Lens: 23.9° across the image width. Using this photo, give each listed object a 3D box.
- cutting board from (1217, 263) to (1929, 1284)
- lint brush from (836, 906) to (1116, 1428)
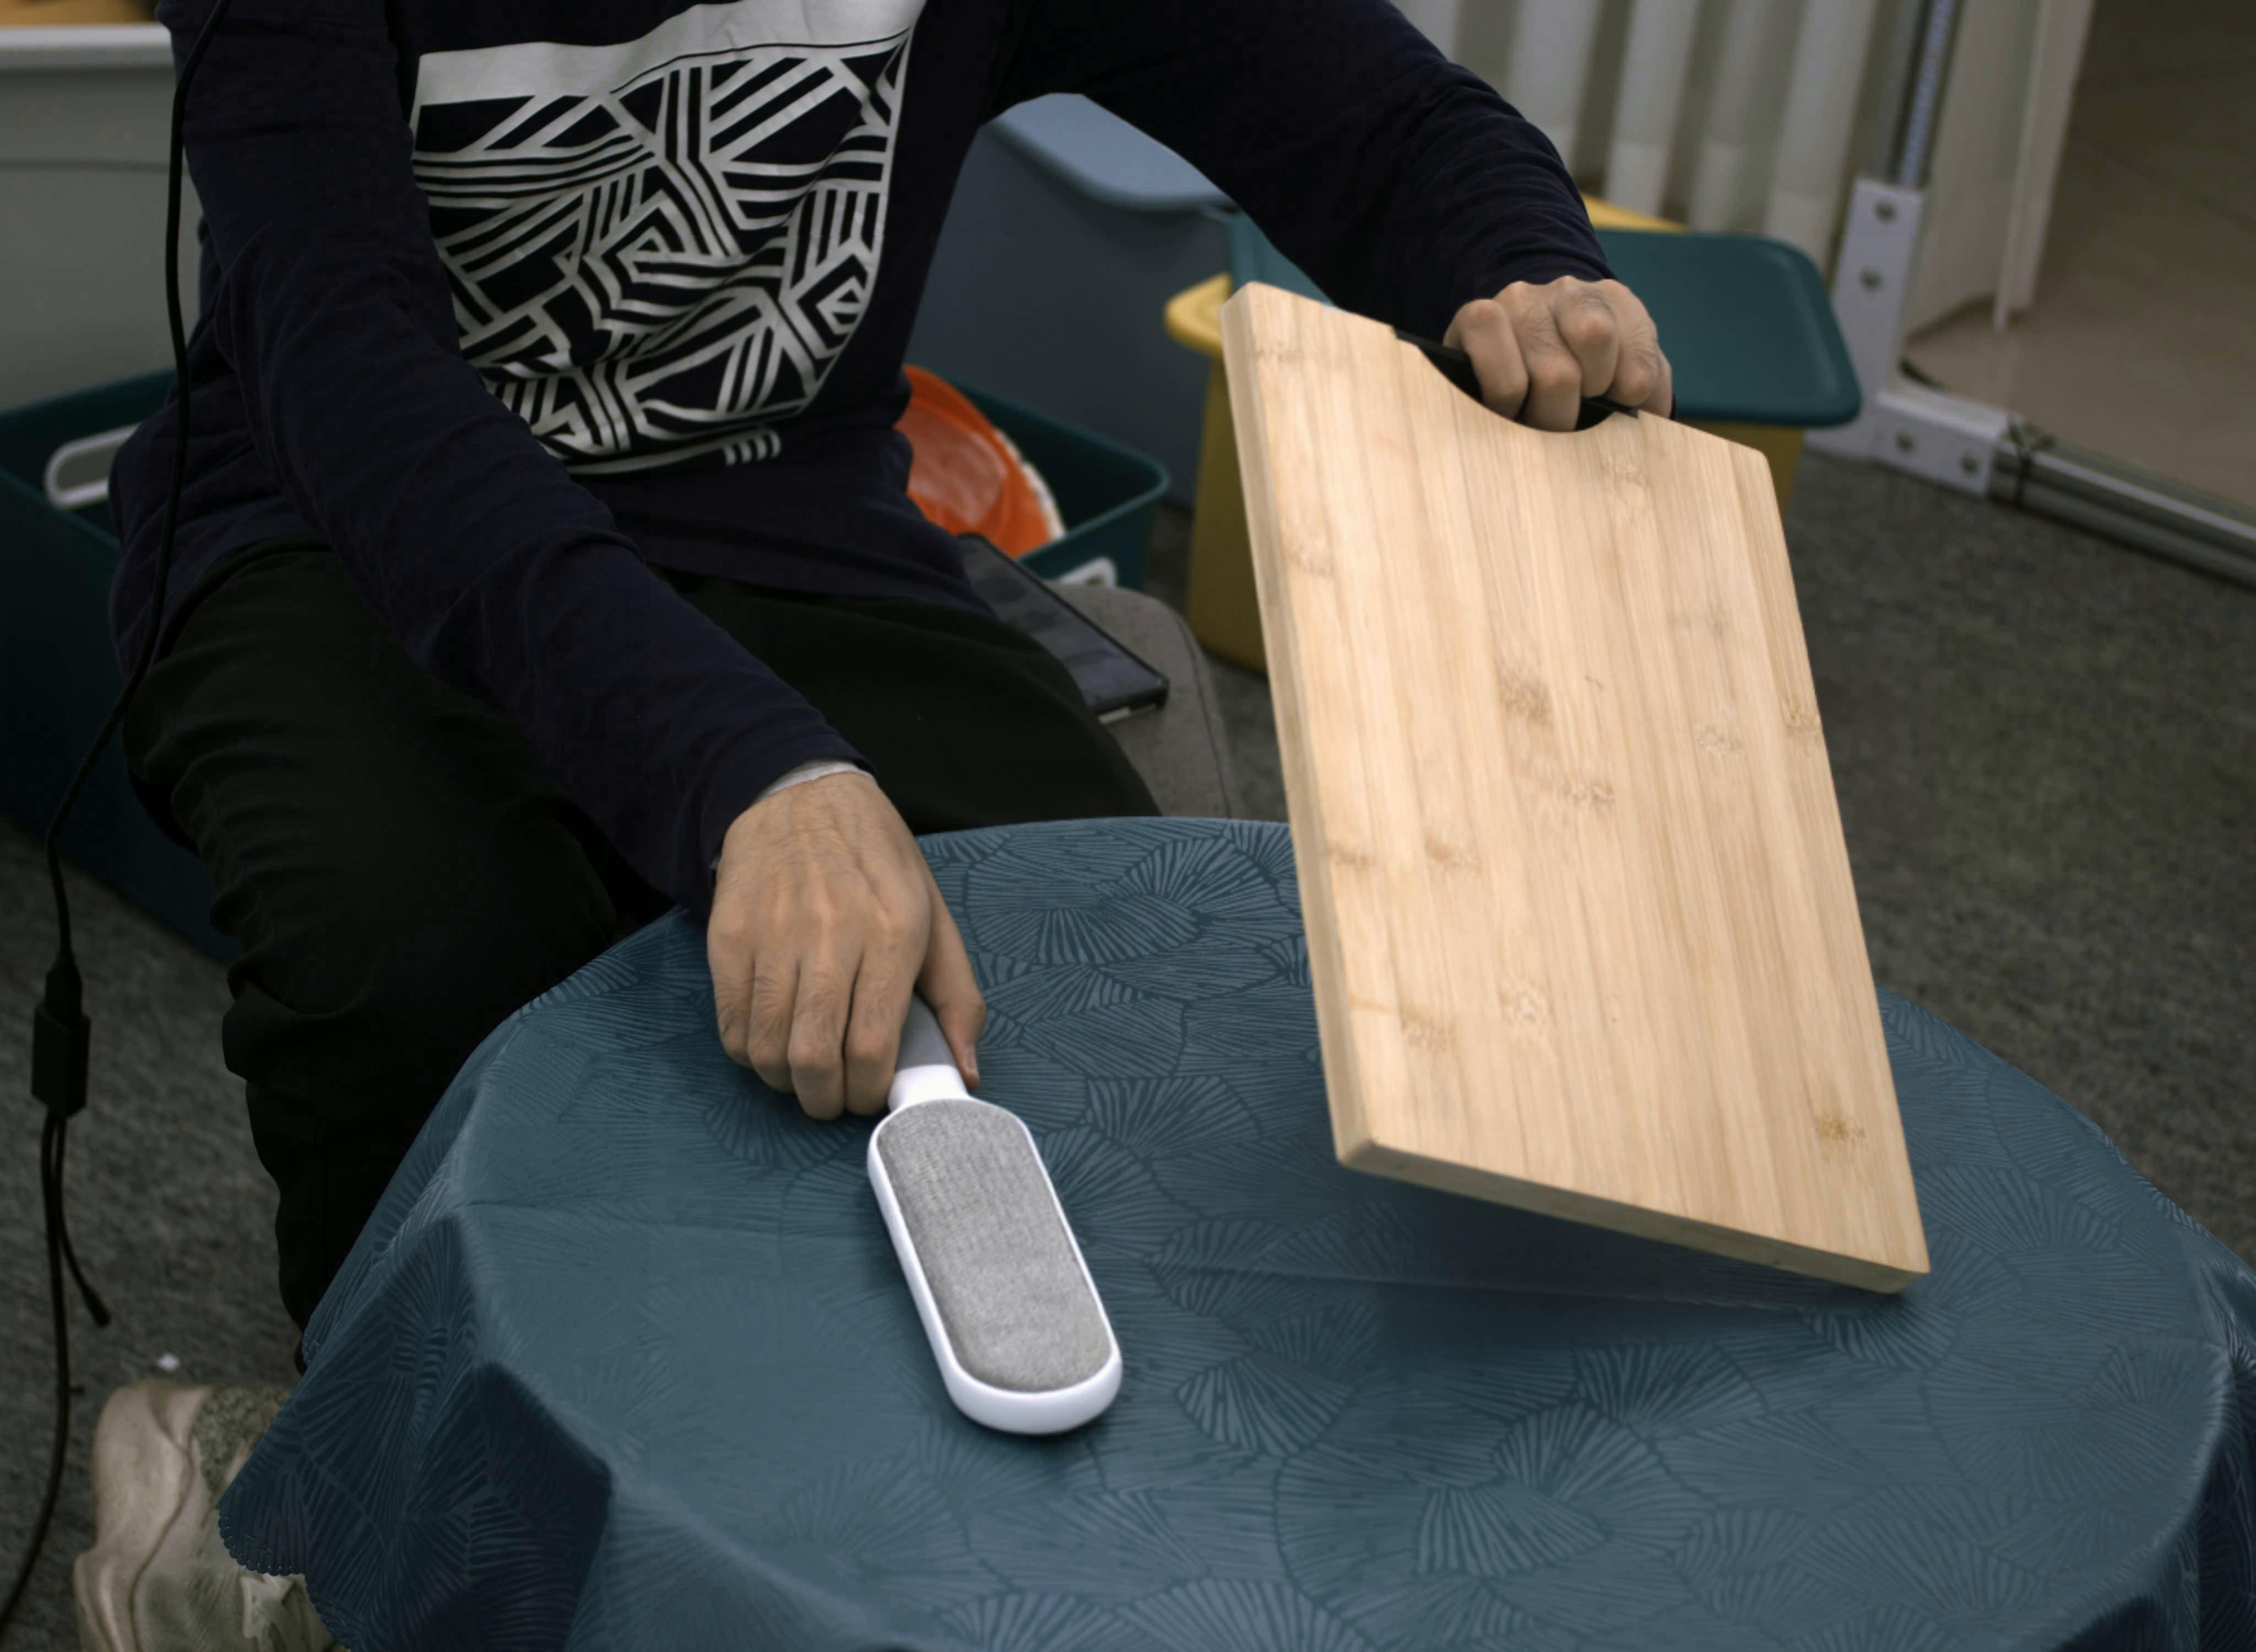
[{"bbox_3d":[0.149,-0.019,1.824,0.248,0.023,0.351,15,53,-32],"label":"cutting board"},{"bbox_3d":[-0.059,0.108,1.785,0.060,0.021,0.311,-10,31,-9],"label":"lint brush"}]
